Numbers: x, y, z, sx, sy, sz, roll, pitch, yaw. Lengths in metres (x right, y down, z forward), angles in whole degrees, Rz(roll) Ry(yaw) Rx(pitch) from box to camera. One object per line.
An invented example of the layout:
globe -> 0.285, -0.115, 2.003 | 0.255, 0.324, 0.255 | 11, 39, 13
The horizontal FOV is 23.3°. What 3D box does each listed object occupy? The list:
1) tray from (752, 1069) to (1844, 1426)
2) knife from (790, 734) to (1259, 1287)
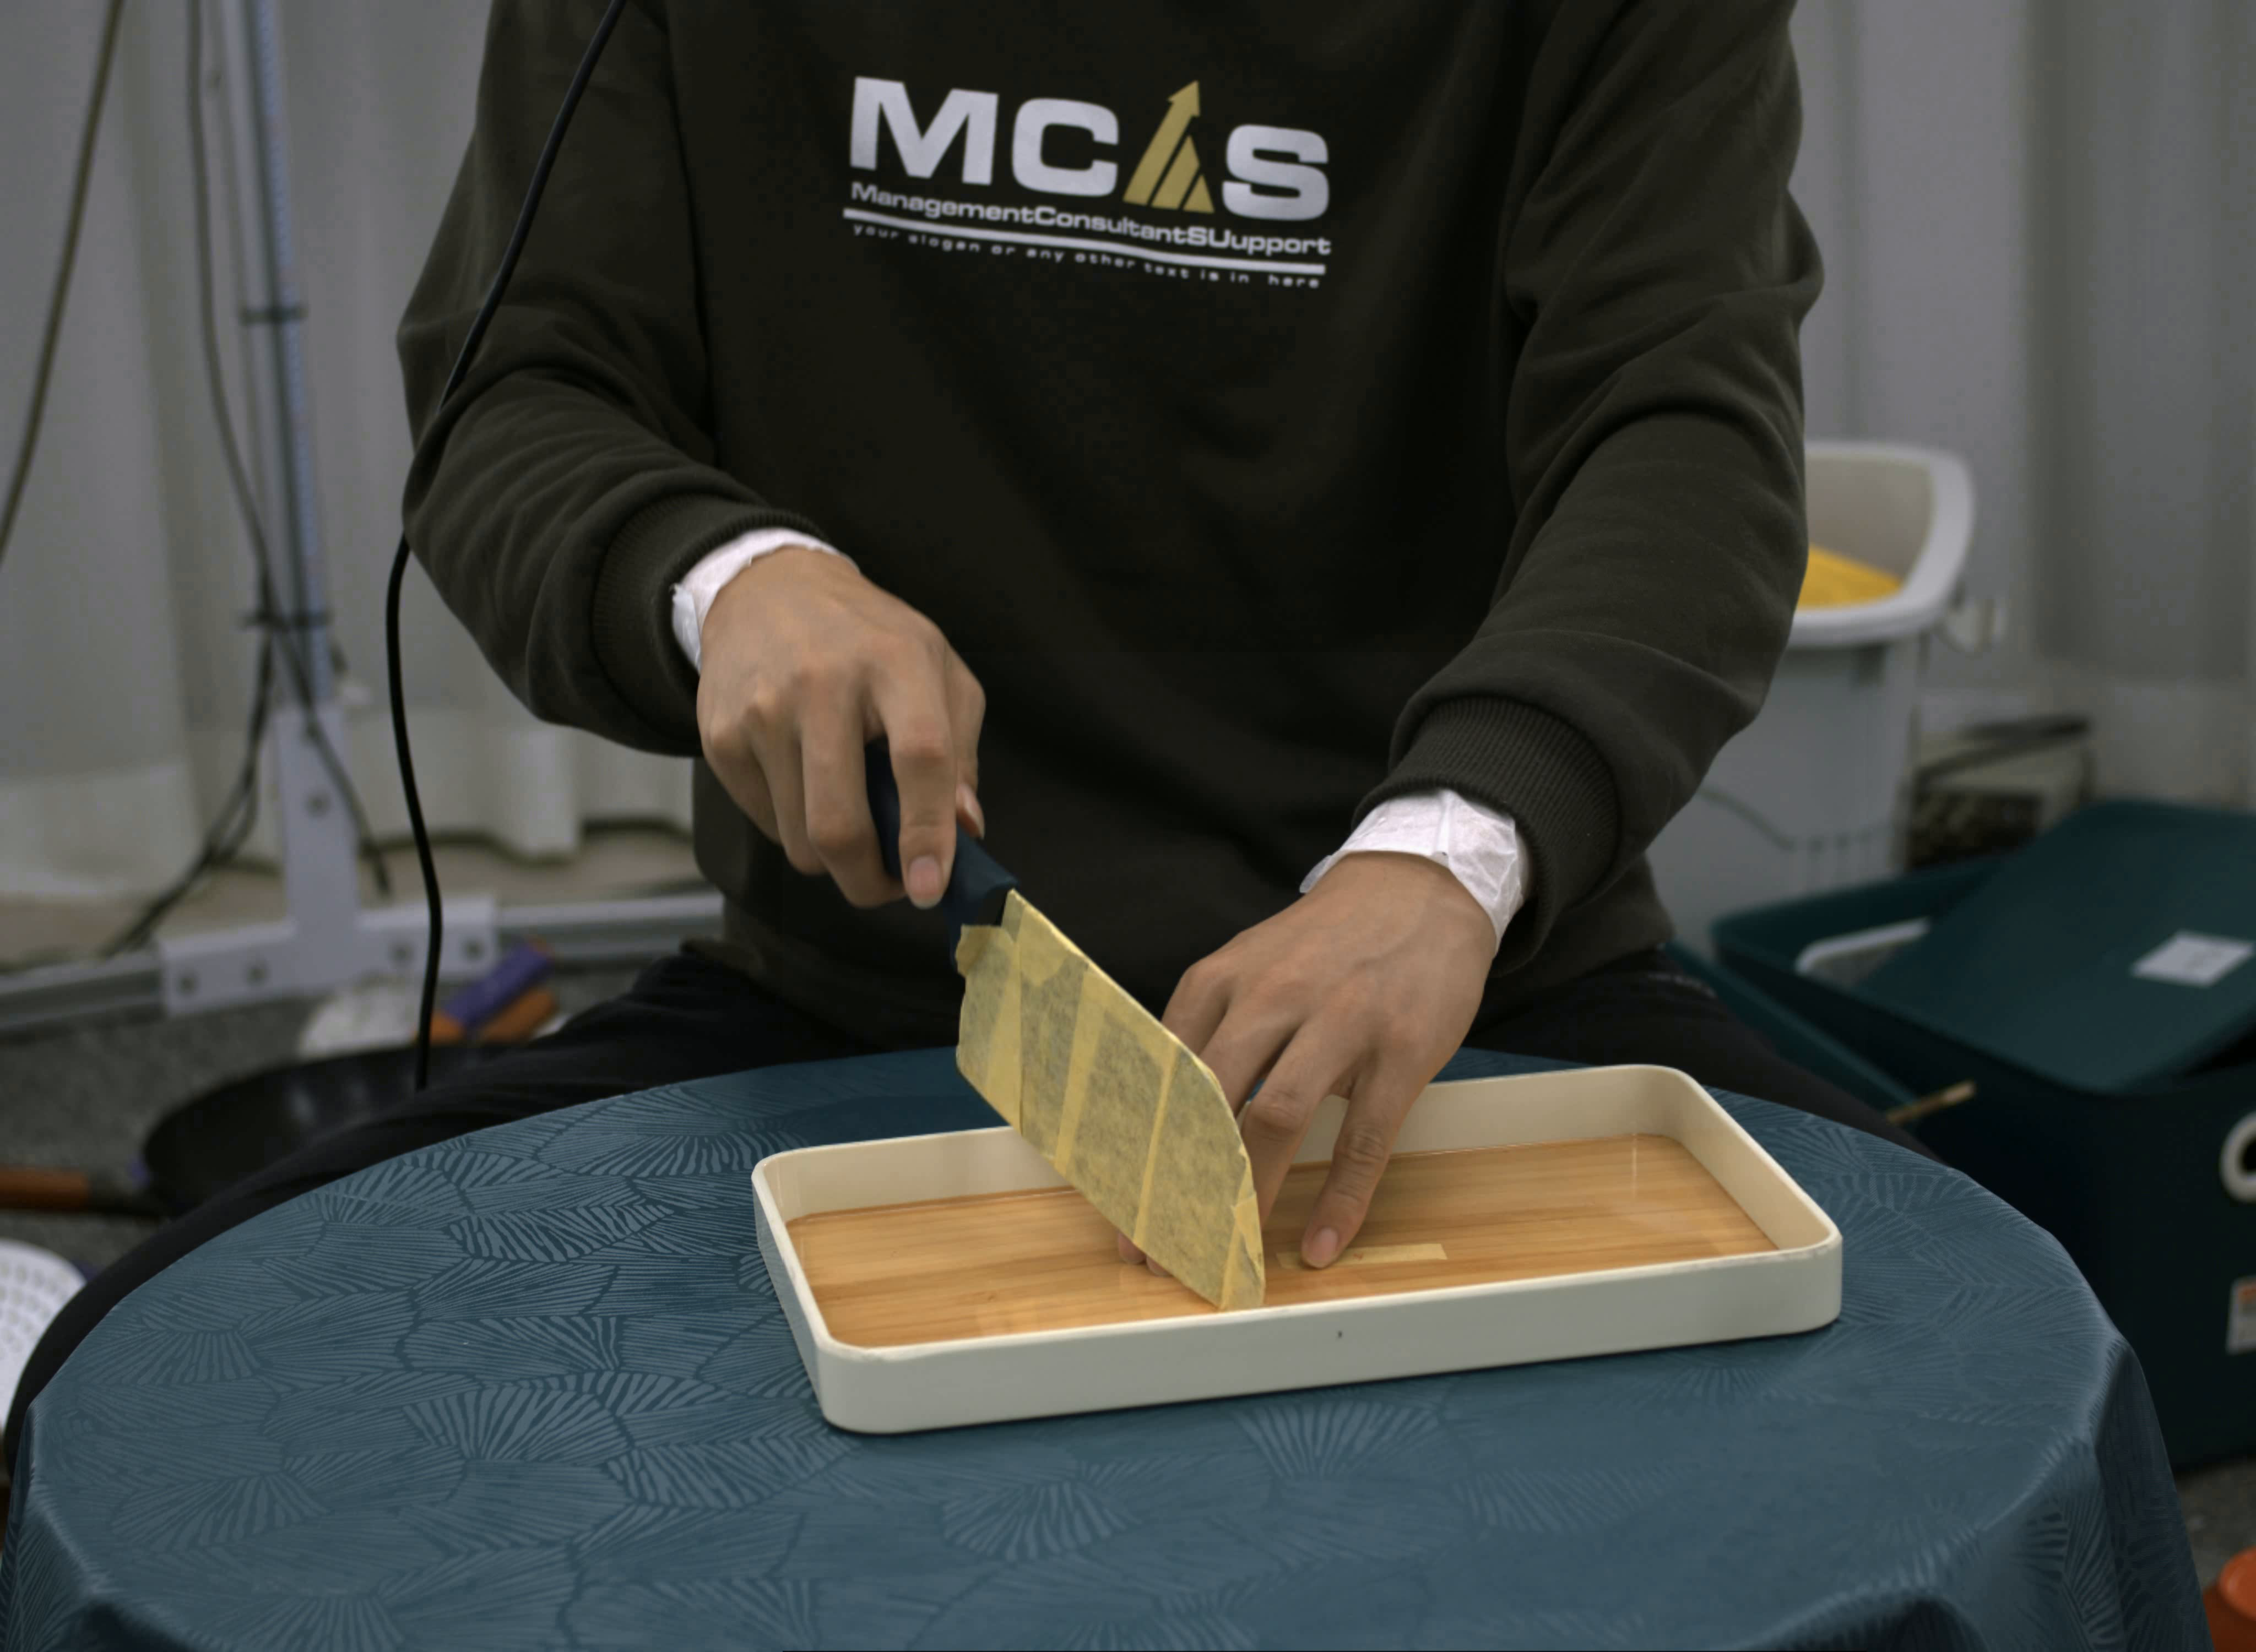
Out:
tray -> 0.046, 0.123, 1.626 | 0.299, 0.027, 0.193 | -5, 14, -9
knife -> -0.034, 0.055, 1.669 | 0.027, 0.080, 0.293 | -4, 31, -31
